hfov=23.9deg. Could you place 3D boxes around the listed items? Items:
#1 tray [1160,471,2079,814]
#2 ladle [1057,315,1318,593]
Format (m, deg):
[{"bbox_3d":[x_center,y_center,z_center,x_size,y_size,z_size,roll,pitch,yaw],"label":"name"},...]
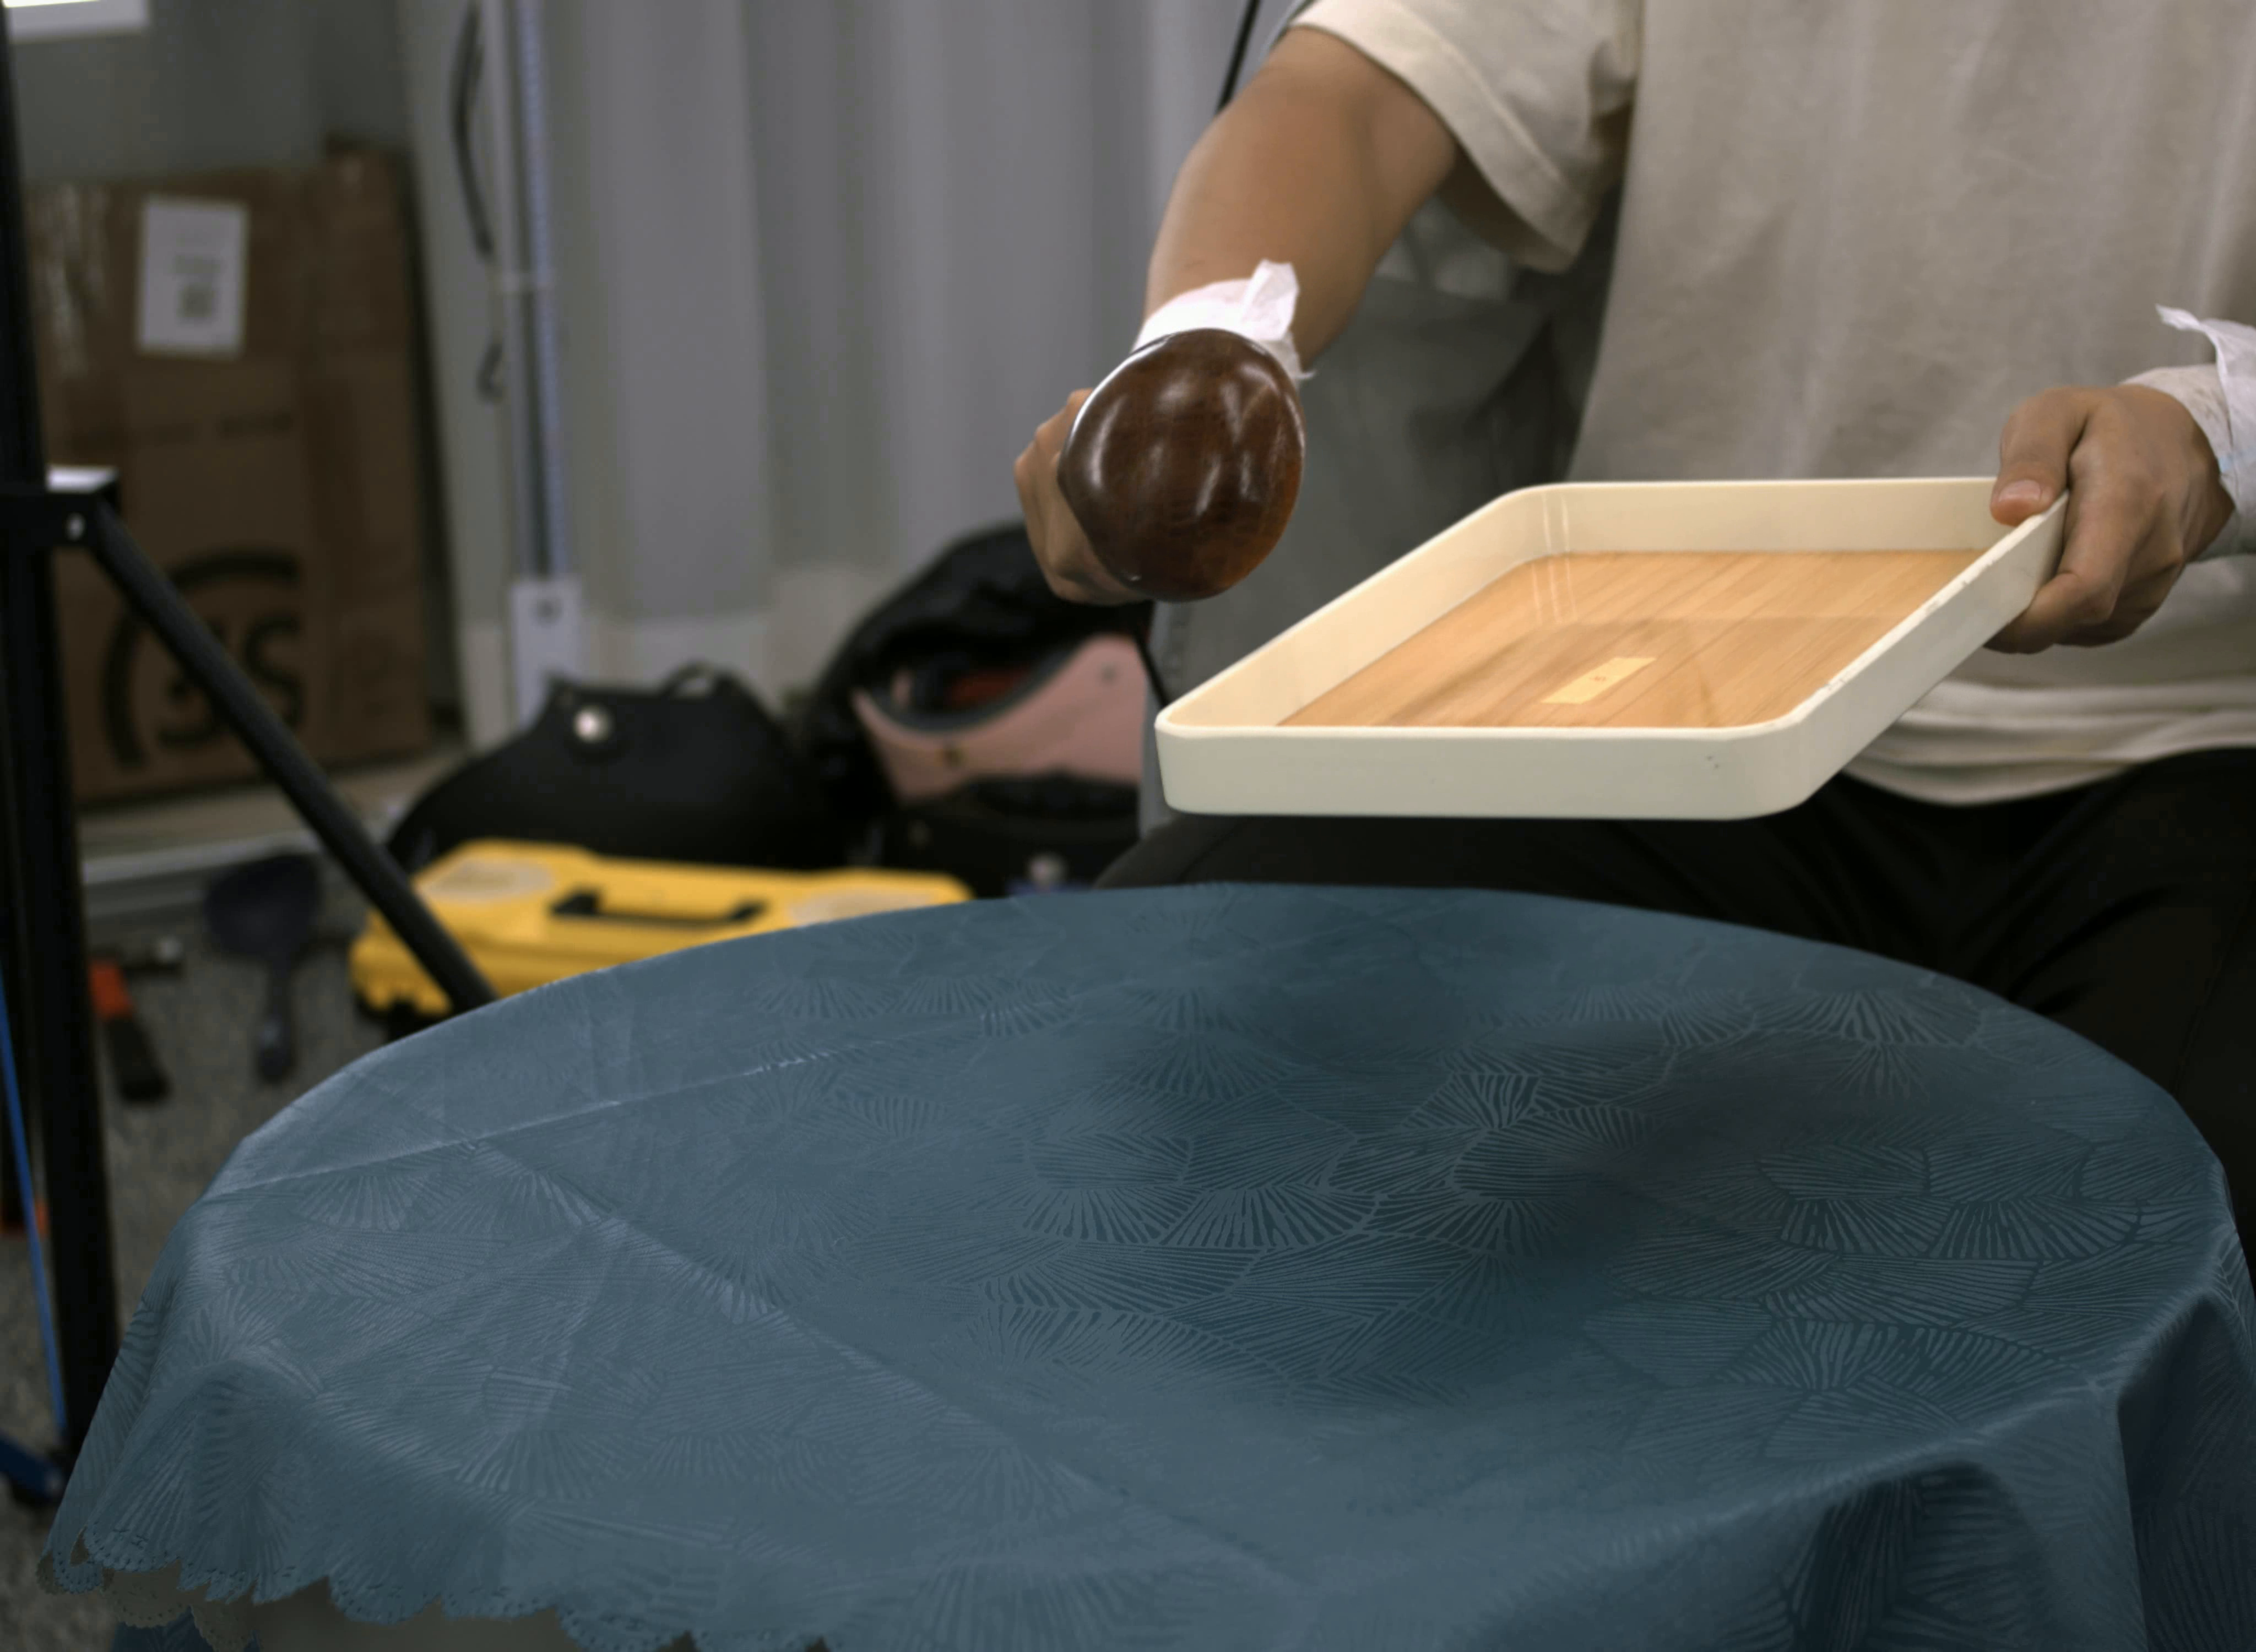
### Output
[{"bbox_3d":[0.151,-0.055,1.549,0.194,0.027,0.296,0,16,27],"label":"tray"},{"bbox_3d":[0.020,-0.099,1.639,0.076,0.082,0.273,19,-5,4],"label":"ladle"}]
